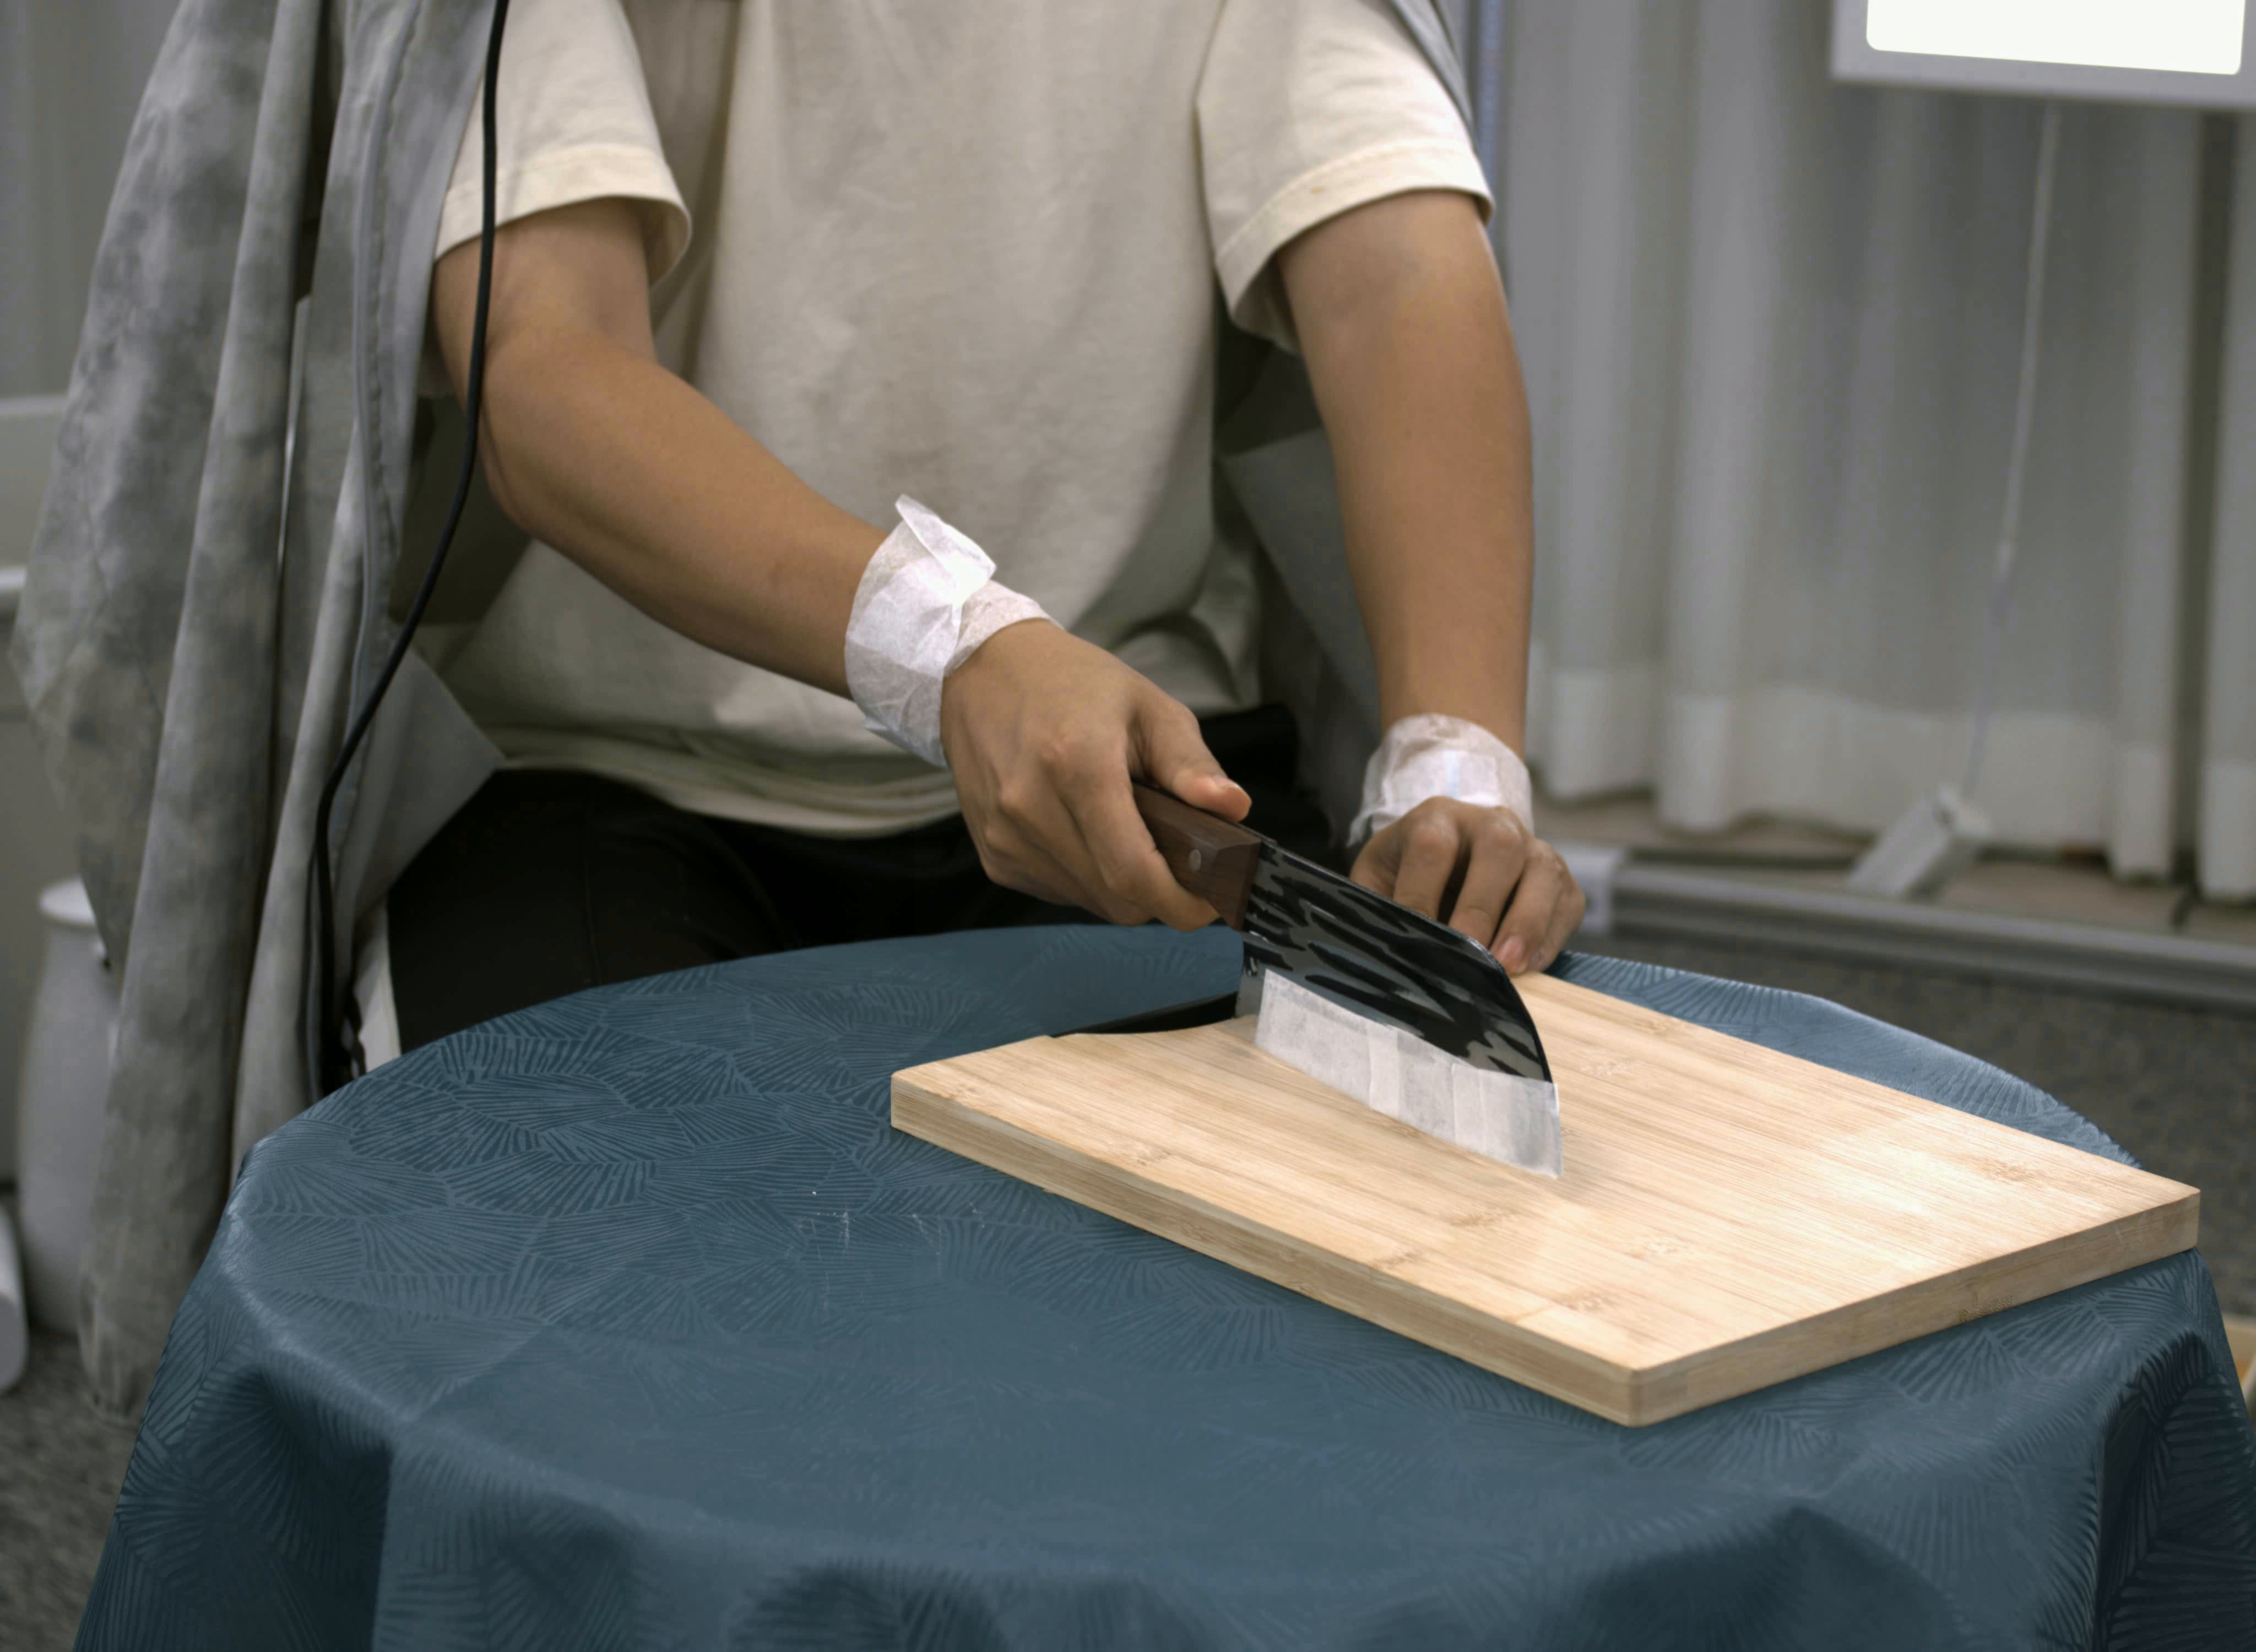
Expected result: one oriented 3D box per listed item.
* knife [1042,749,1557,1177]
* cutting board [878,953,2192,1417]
[{"bbox_3d":[0.052,0.041,1.679,0.024,0.068,0.295,-3,18,-33],"label":"knife"},{"bbox_3d":[0.120,0.102,1.638,0.252,0.024,0.344,-12,20,-40],"label":"cutting board"}]
